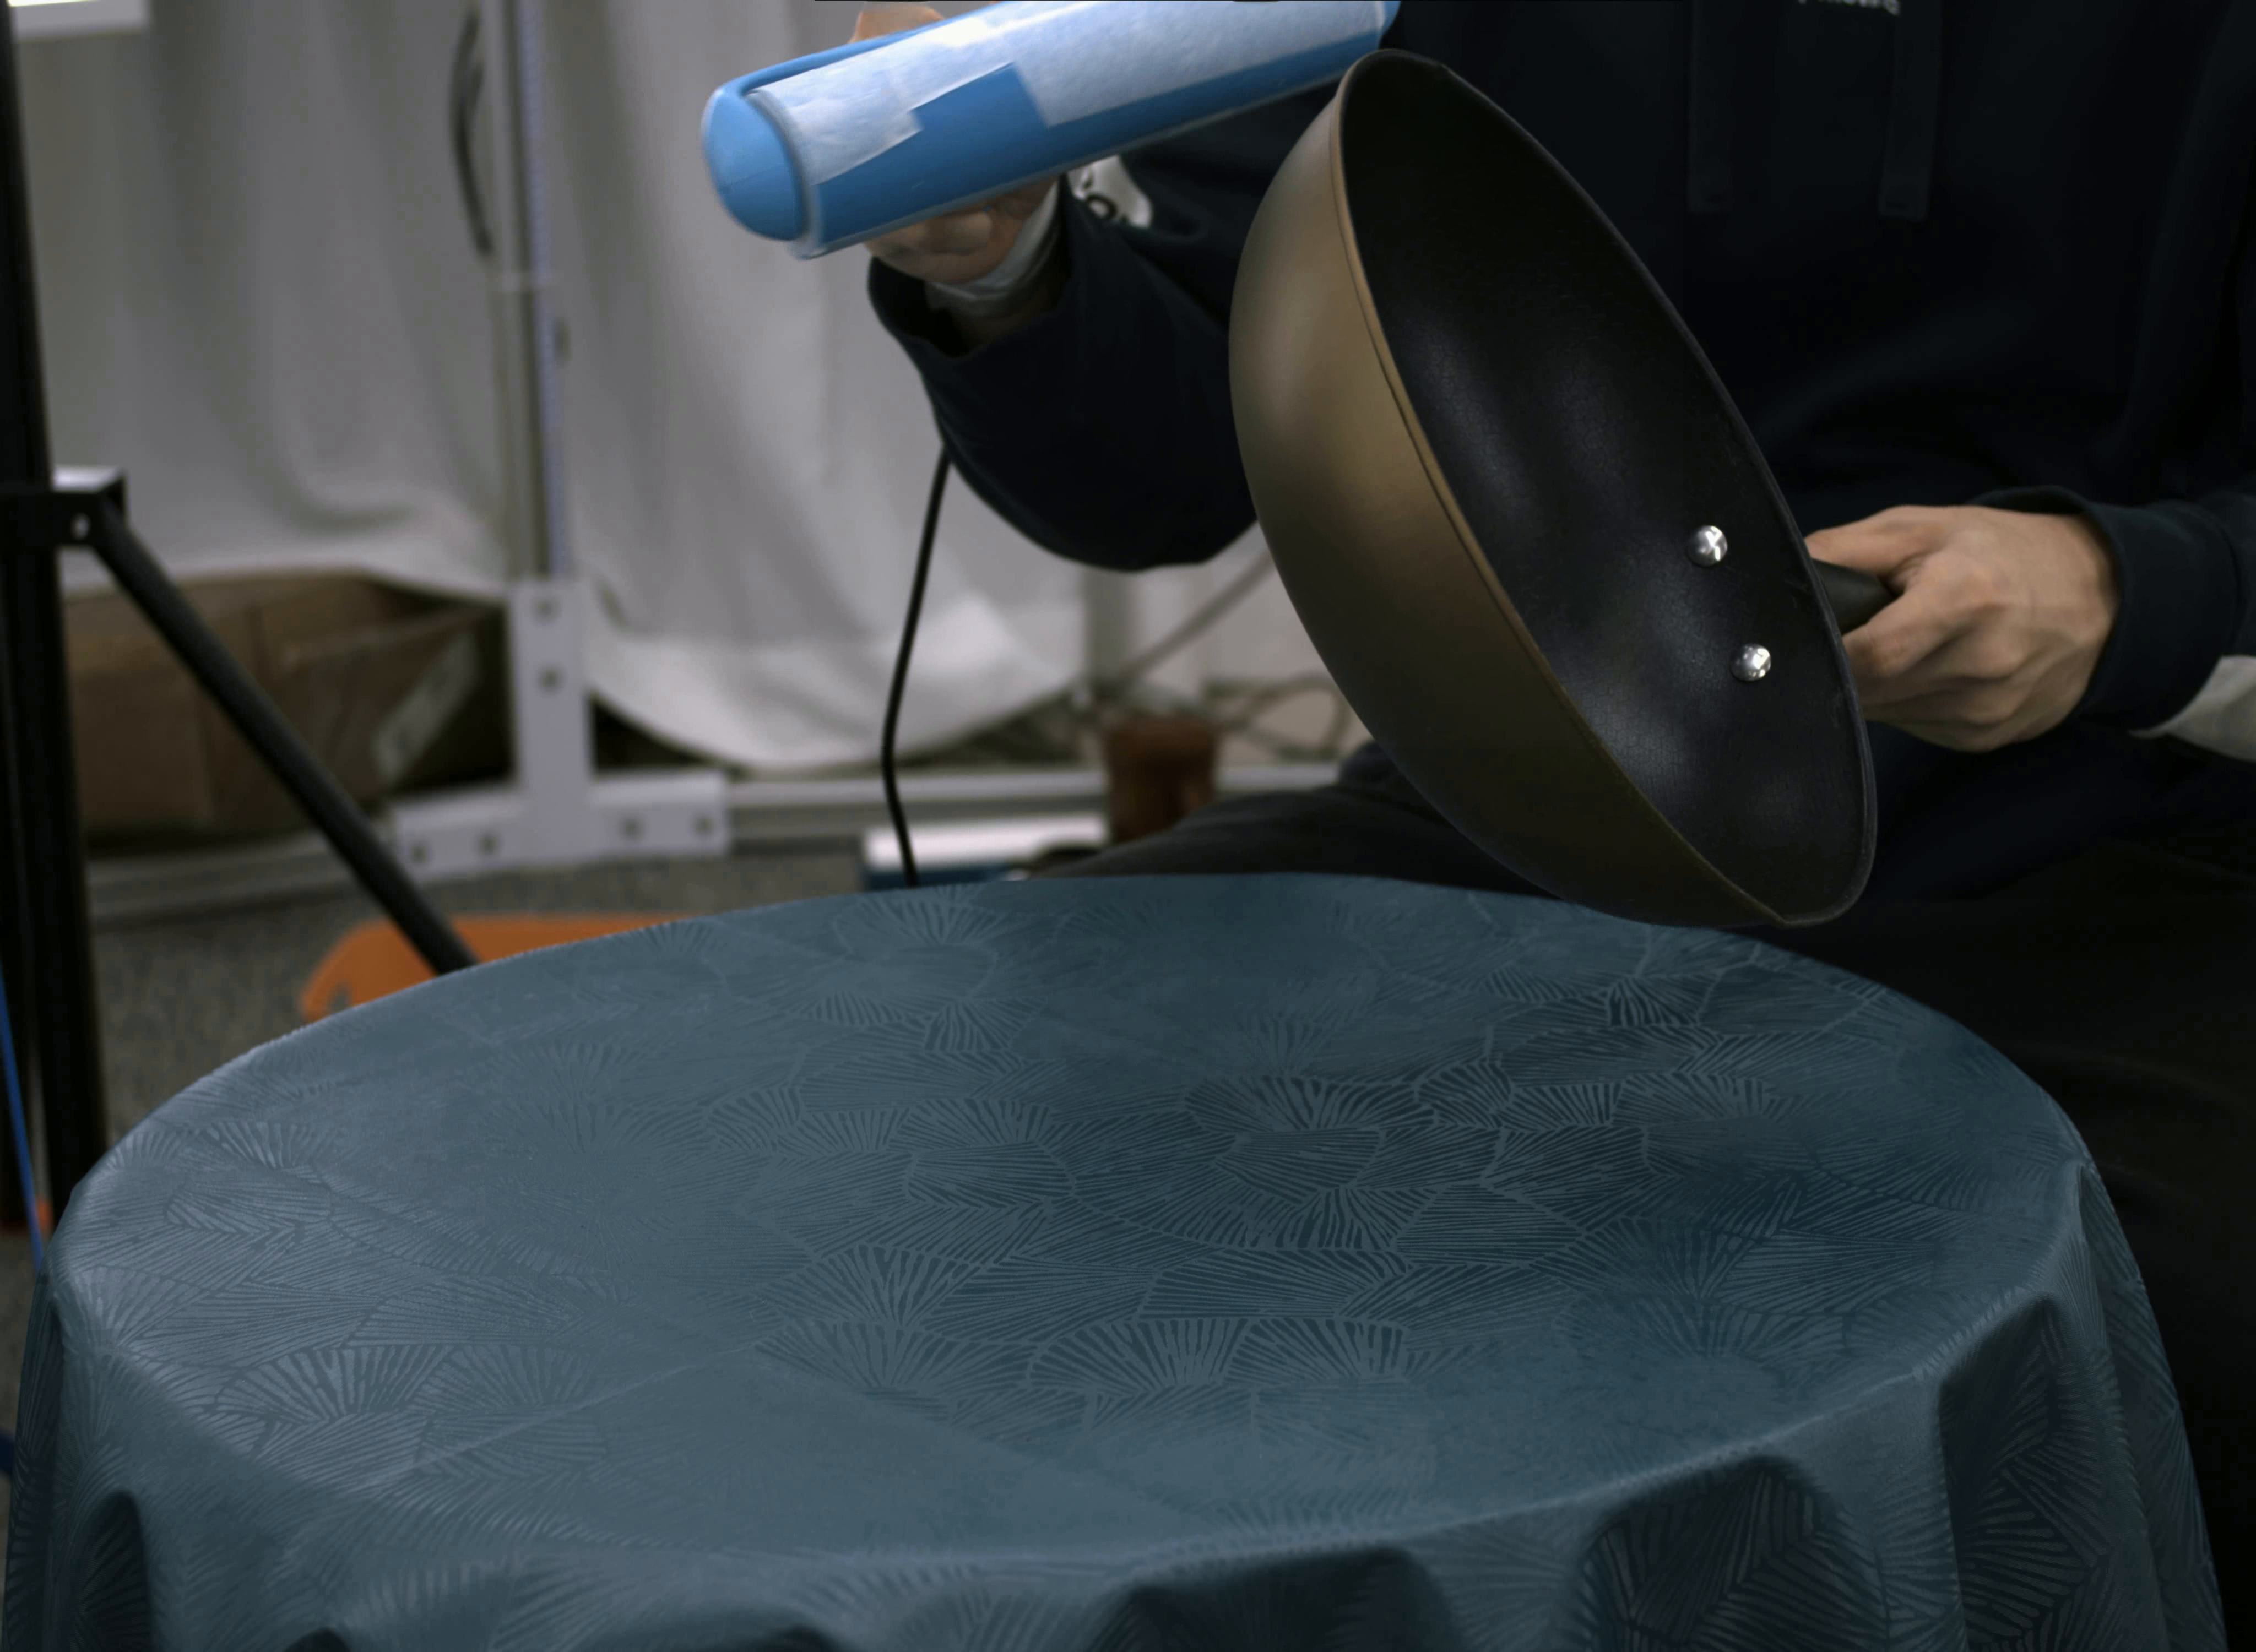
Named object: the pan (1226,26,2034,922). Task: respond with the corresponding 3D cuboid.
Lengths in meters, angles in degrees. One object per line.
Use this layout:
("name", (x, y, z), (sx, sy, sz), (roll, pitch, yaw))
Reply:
("pan", (0.155, -0.069, 1.610), (0.088, 0.292, 0.452), (-29, -25, 23))

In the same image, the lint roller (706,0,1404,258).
("lint roller", (-0.040, -0.223, 1.672), (0.225, 0.068, 0.182), (-22, 4, -20))
